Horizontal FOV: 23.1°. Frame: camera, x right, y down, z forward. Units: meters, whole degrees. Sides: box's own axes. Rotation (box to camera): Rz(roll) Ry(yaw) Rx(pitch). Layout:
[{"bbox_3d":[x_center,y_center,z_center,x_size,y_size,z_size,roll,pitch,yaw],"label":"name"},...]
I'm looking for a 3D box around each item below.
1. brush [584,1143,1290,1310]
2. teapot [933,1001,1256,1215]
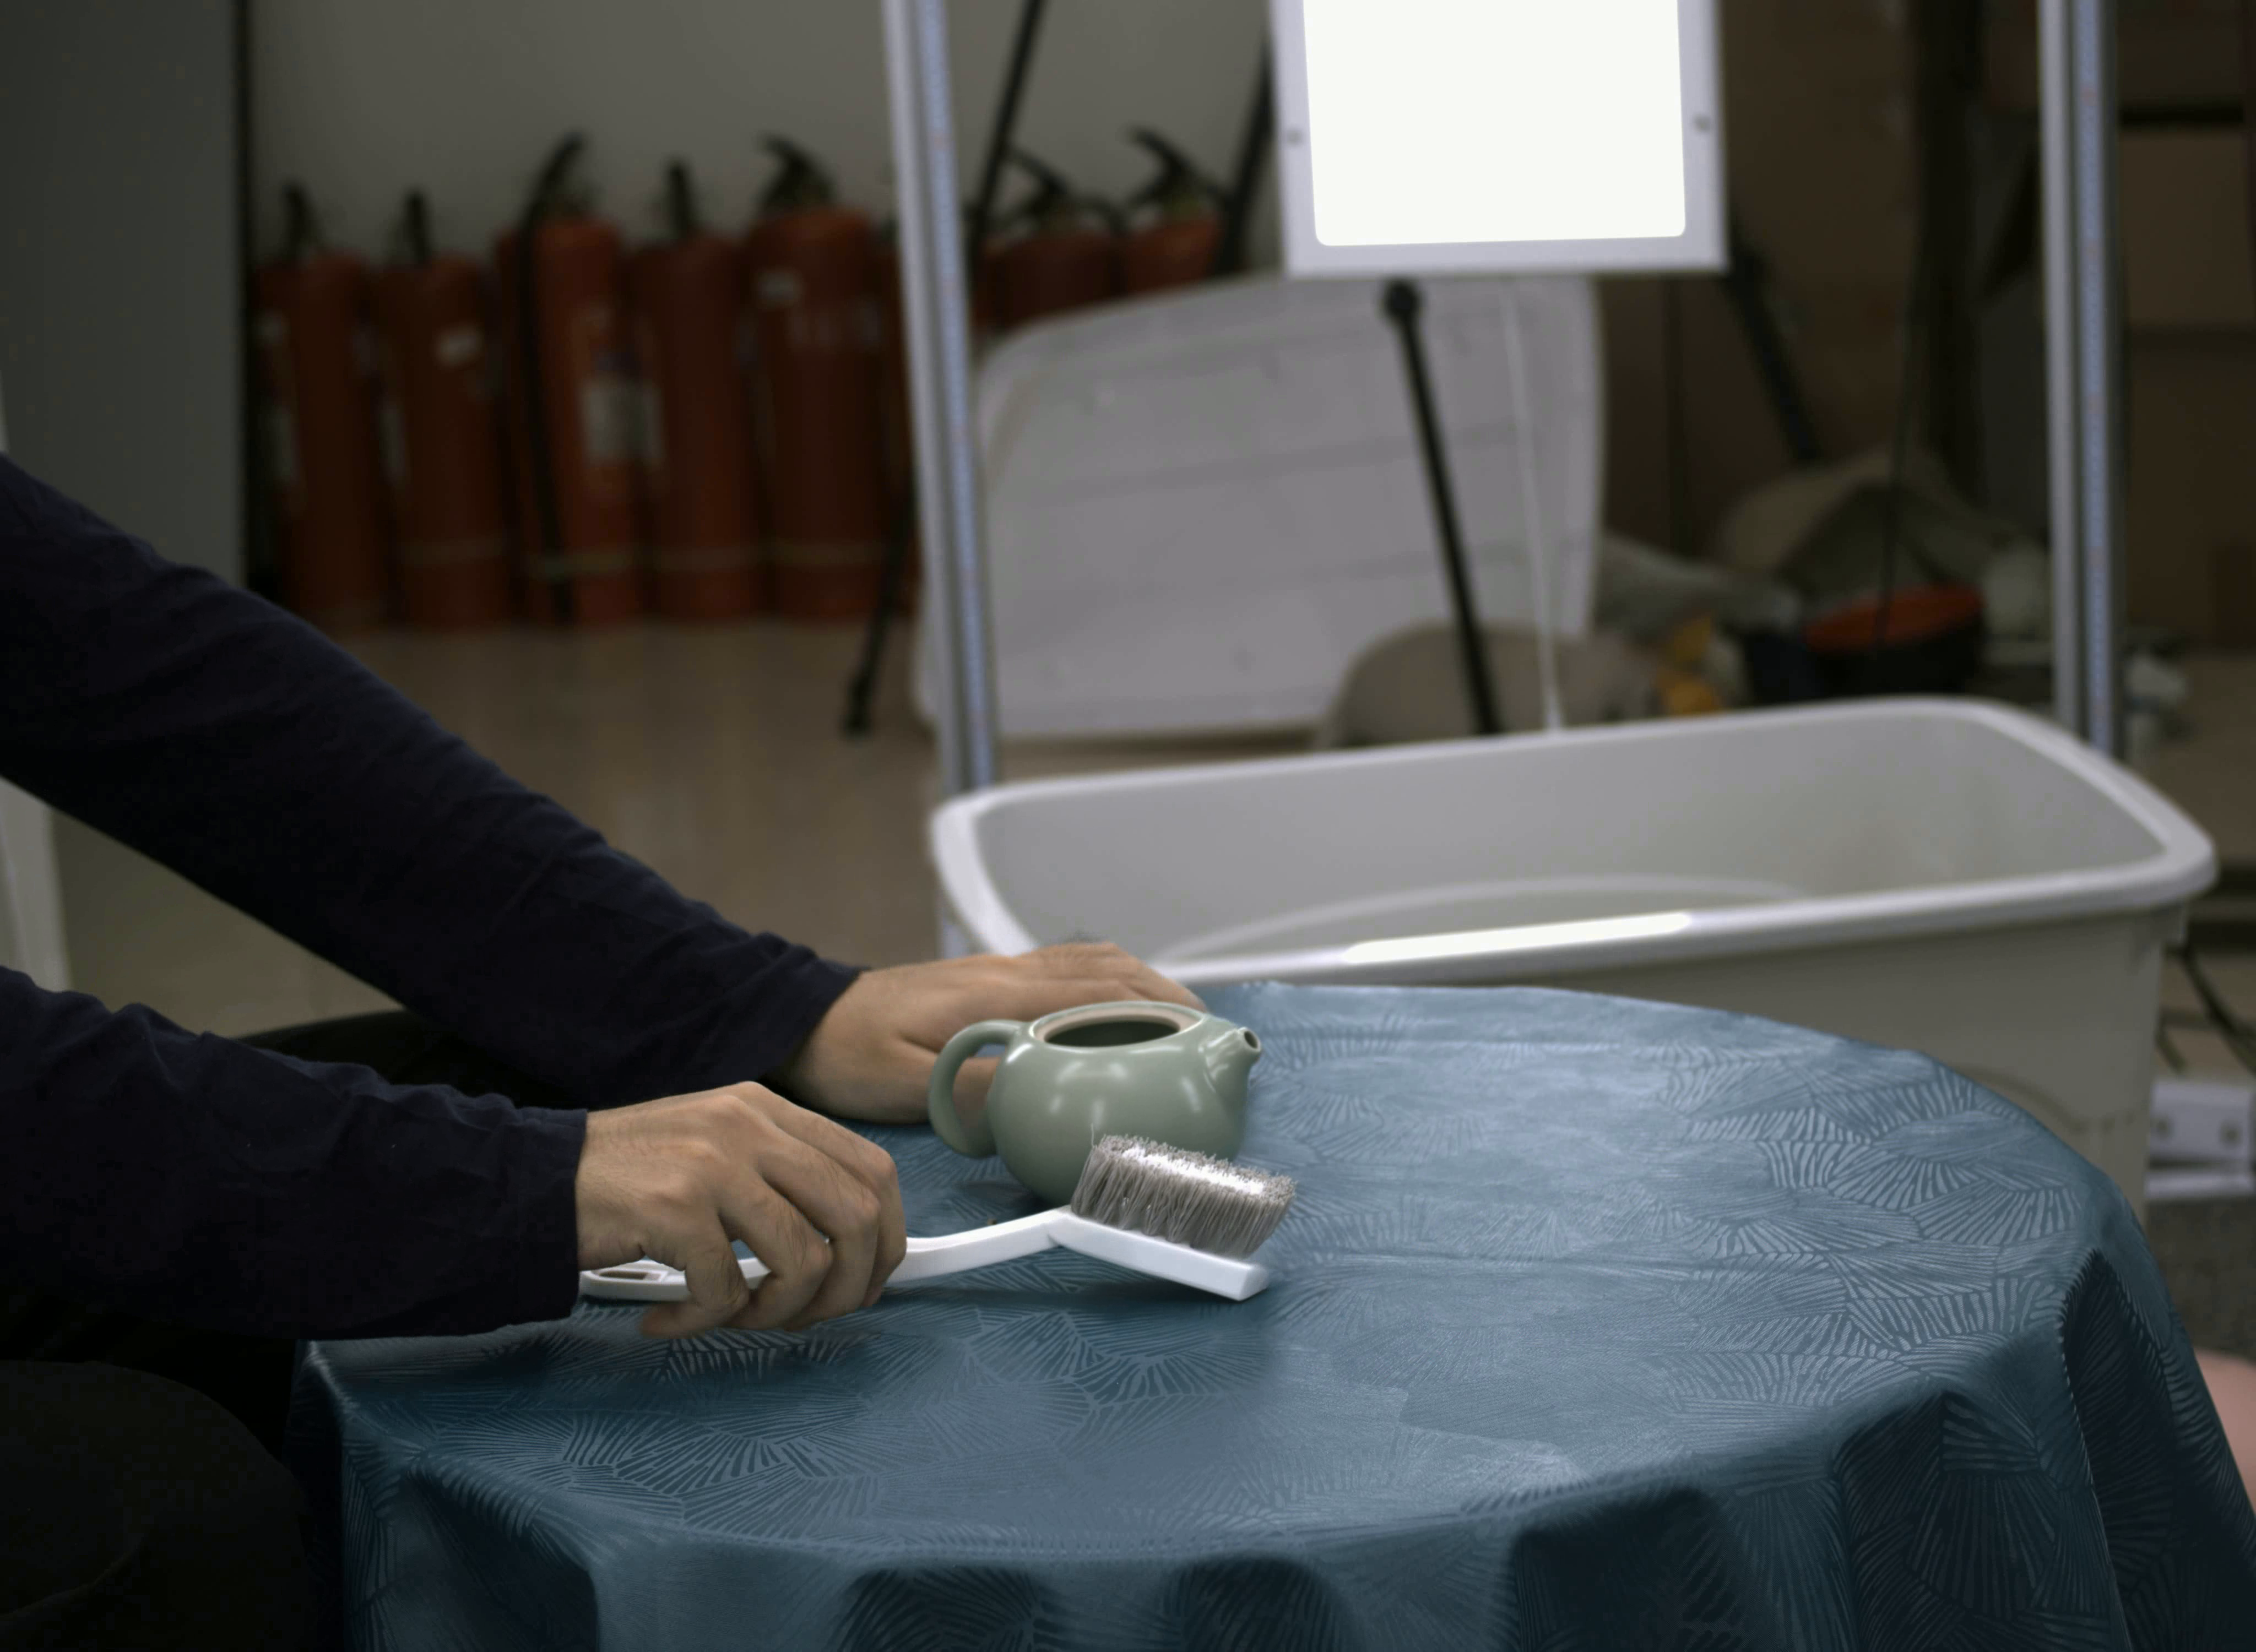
[{"bbox_3d":[-0.066,0.130,1.811,0.246,0.050,0.034,0,18,18],"label":"brush"},{"bbox_3d":[-0.011,0.098,1.900,0.131,0.061,0.089,3,21,31],"label":"teapot"}]
